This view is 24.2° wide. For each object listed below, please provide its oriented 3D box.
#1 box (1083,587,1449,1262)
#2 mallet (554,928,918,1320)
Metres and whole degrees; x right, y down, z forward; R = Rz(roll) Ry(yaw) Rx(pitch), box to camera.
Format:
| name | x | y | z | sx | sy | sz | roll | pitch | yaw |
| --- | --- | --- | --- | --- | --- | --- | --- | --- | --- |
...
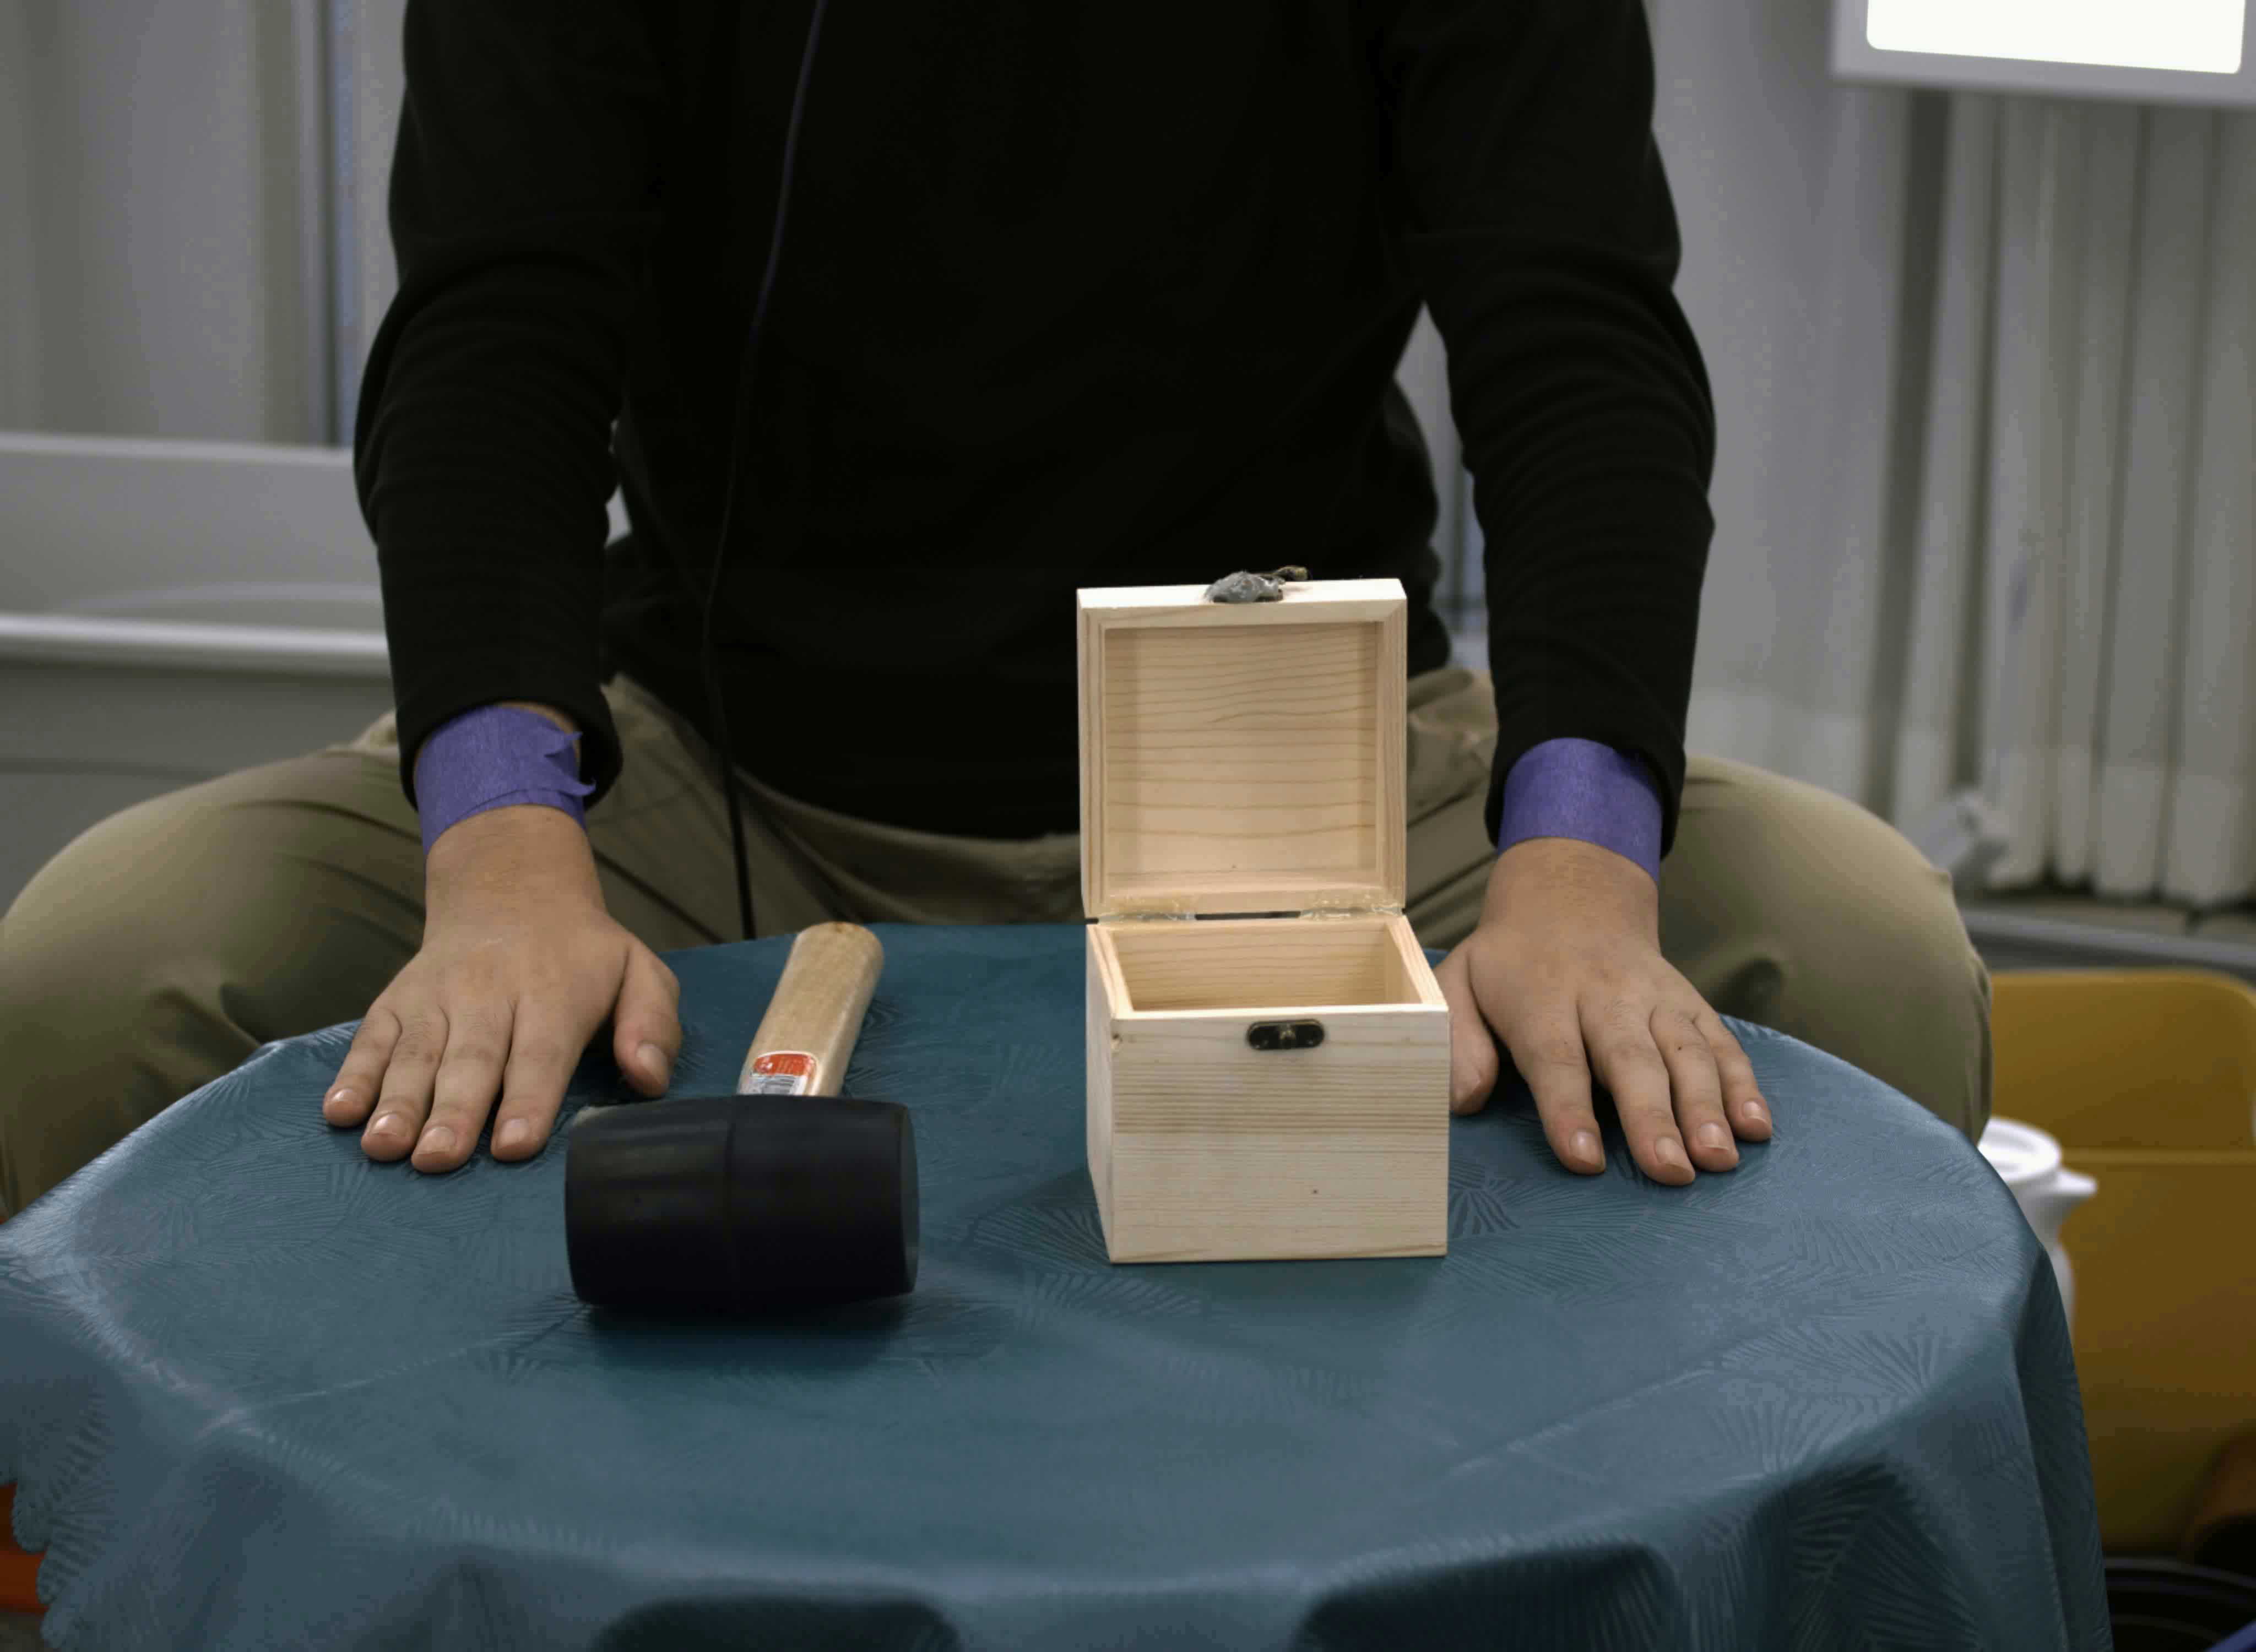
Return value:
| name | x | y | z | sx | sy | sz | roll | pitch | yaw |
| --- | --- | --- | --- | --- | --- | --- | --- | --- | --- |
| box | 0.040 | 0.026 | 1.595 | 0.102 | 0.186 | 0.133 | 0 | 14 | -5 |
| mallet | -0.105 | 0.074 | 1.645 | 0.101 | 0.065 | 0.337 | 2 | 15 | 3 |
